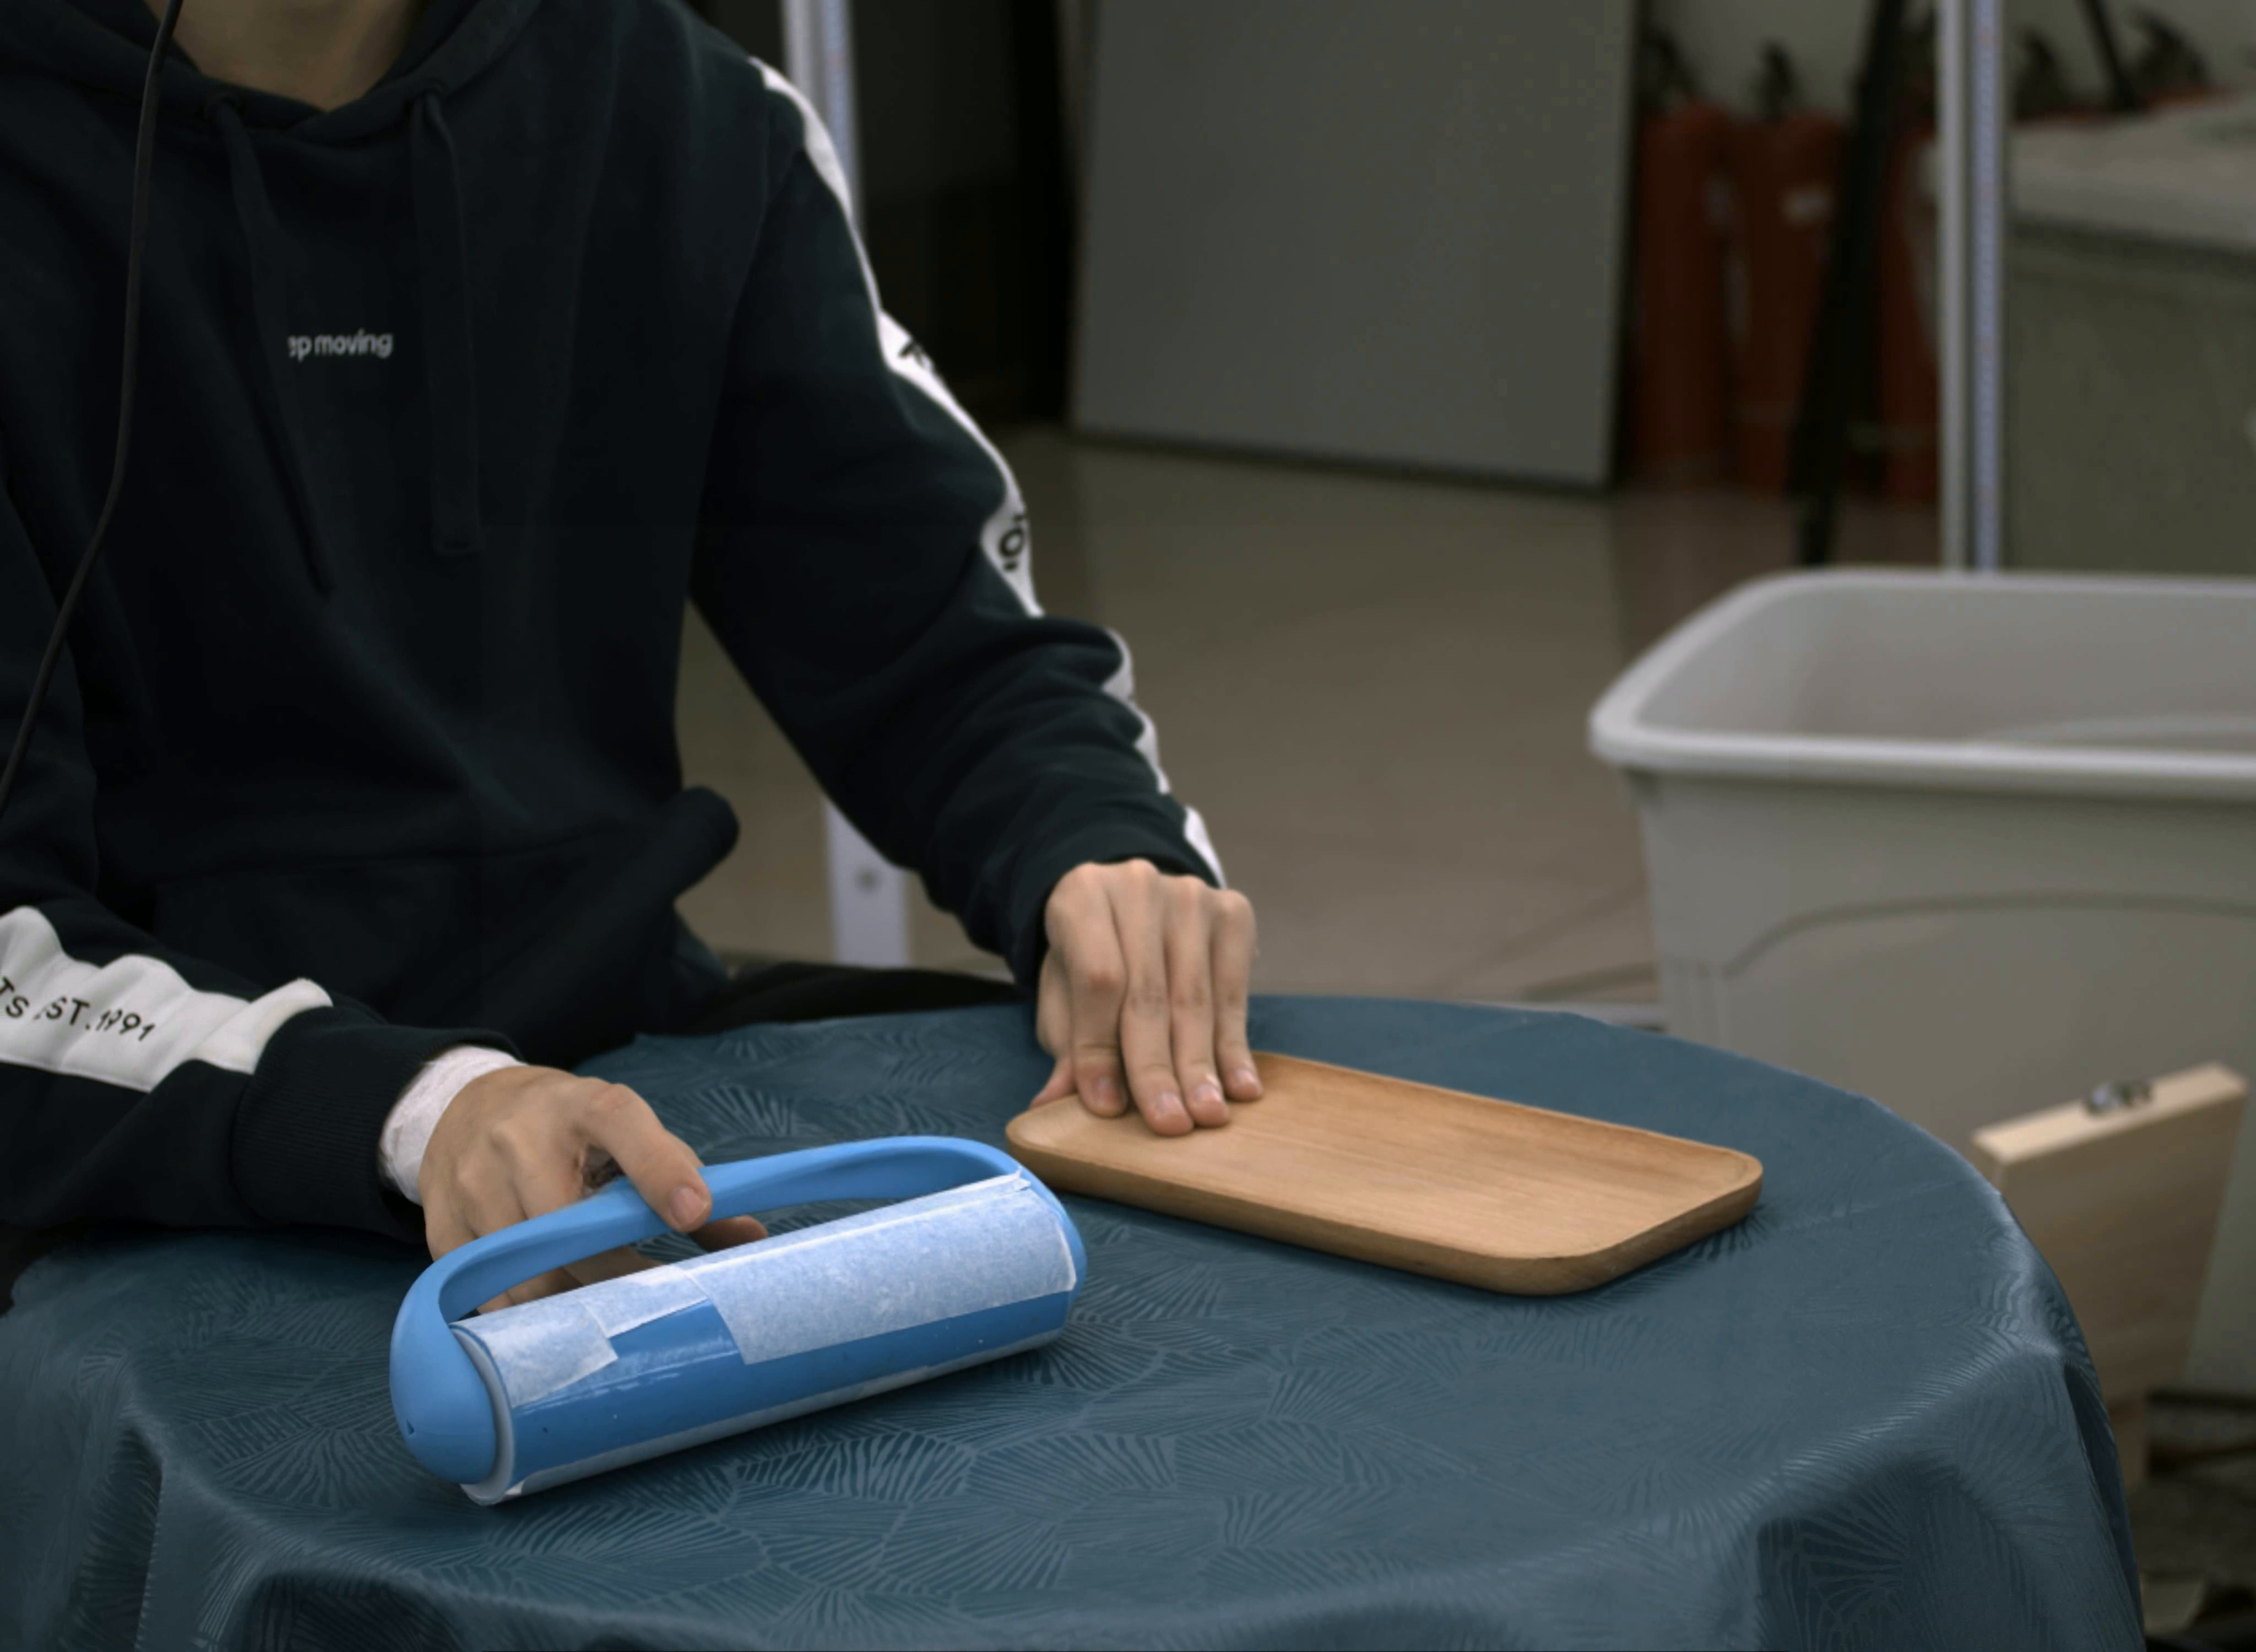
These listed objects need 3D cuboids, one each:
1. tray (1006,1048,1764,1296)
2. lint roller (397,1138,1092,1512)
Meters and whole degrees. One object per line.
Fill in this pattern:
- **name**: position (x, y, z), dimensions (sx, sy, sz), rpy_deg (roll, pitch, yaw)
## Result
- **tray**: position (0.081, 0.111, 1.753), dimensions (0.253, 0.023, 0.128), rpy_deg (9, 17, 44)
- **lint roller**: position (-0.142, 0.138, 1.625), dimensions (0.224, 0.068, 0.182), rpy_deg (-16, 19, -34)
